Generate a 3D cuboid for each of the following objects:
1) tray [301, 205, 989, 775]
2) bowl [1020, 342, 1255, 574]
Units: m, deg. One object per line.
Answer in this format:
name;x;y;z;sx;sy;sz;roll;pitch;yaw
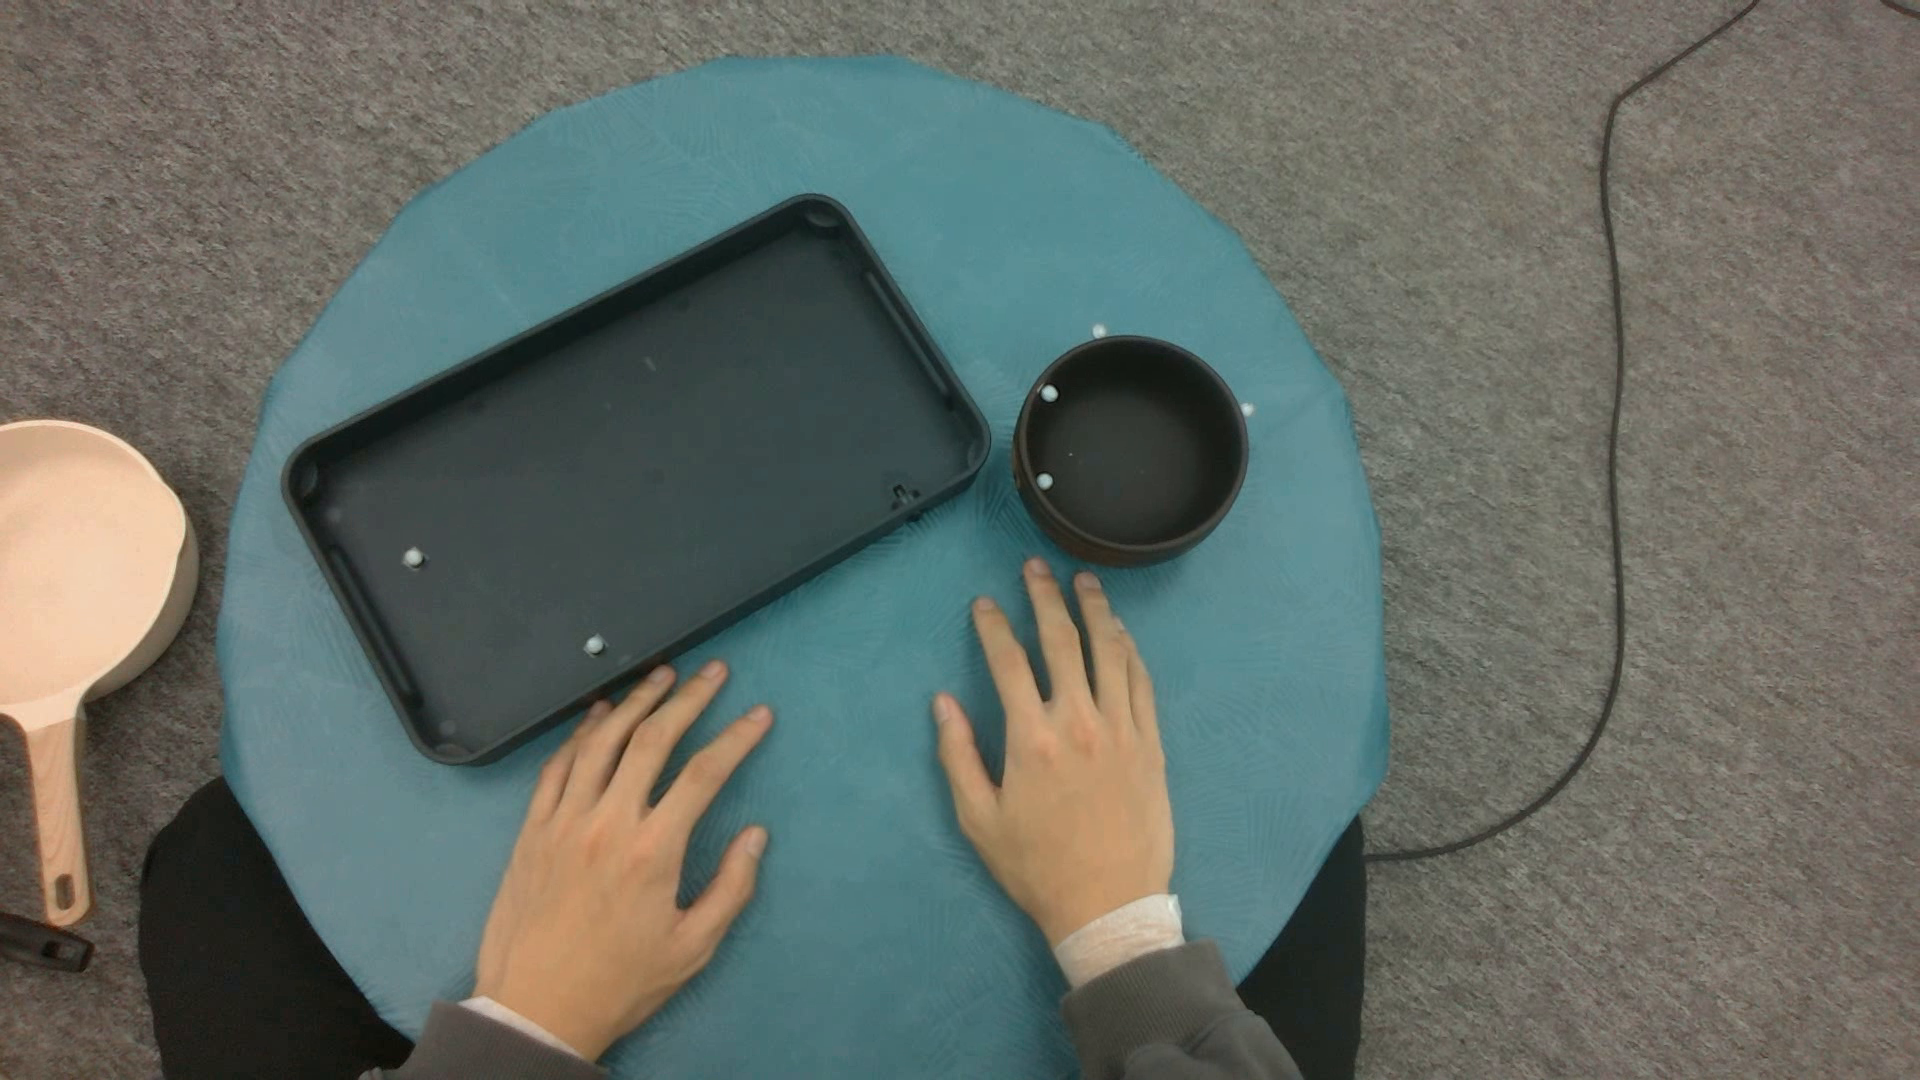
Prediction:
tray;-0.158;-0.032;0.722;0.318;0.037;0.184;-32;79;-13
bowl;0.089;-0.038;0.721;0.118;0.069;0.118;1;75;-3
